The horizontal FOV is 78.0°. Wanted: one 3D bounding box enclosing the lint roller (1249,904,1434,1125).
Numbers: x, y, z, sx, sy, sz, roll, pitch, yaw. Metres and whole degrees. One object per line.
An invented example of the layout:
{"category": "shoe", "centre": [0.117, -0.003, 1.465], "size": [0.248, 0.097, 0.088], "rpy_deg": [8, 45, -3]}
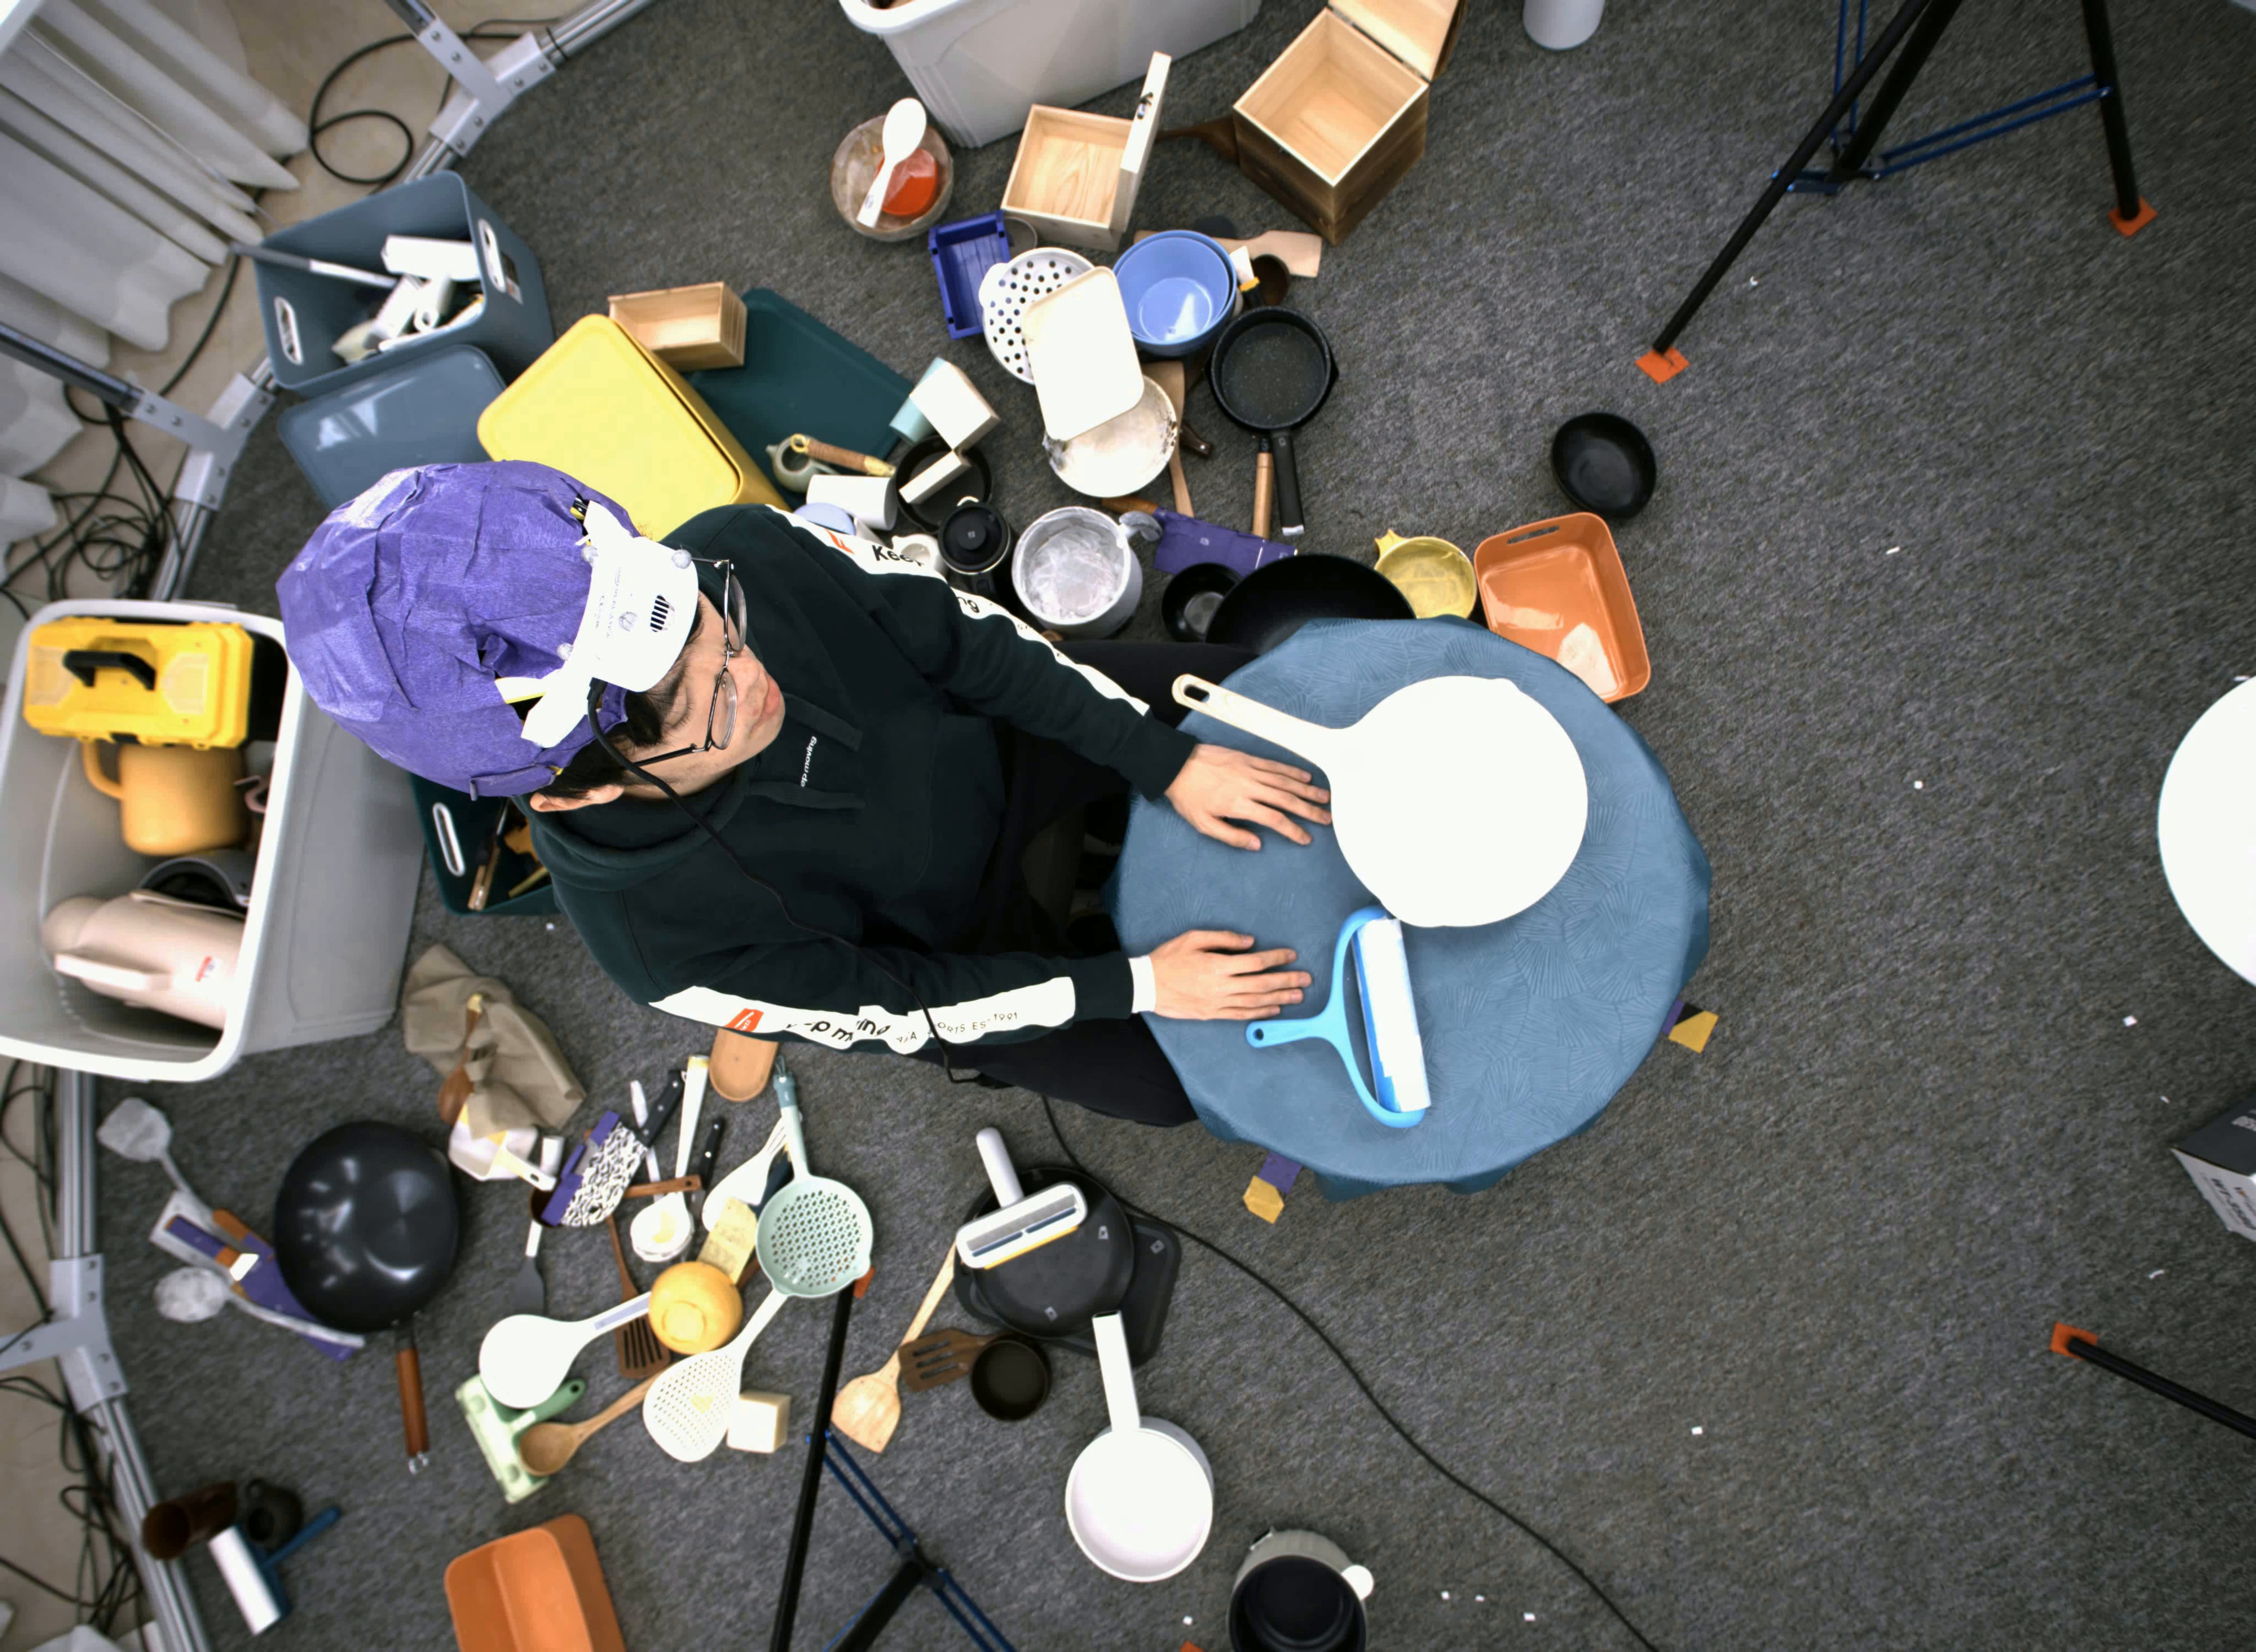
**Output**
{"category": "lint roller", "centre": [0.213, 0.204, 1.430], "size": [0.181, 0.068, 0.228], "rpy_deg": [-13, 86, 8]}

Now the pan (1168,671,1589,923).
{"category": "pan", "centre": [0.251, -0.062, 1.415], "size": [0.435, 0.102, 0.263], "rpy_deg": [22, 92, 11]}
